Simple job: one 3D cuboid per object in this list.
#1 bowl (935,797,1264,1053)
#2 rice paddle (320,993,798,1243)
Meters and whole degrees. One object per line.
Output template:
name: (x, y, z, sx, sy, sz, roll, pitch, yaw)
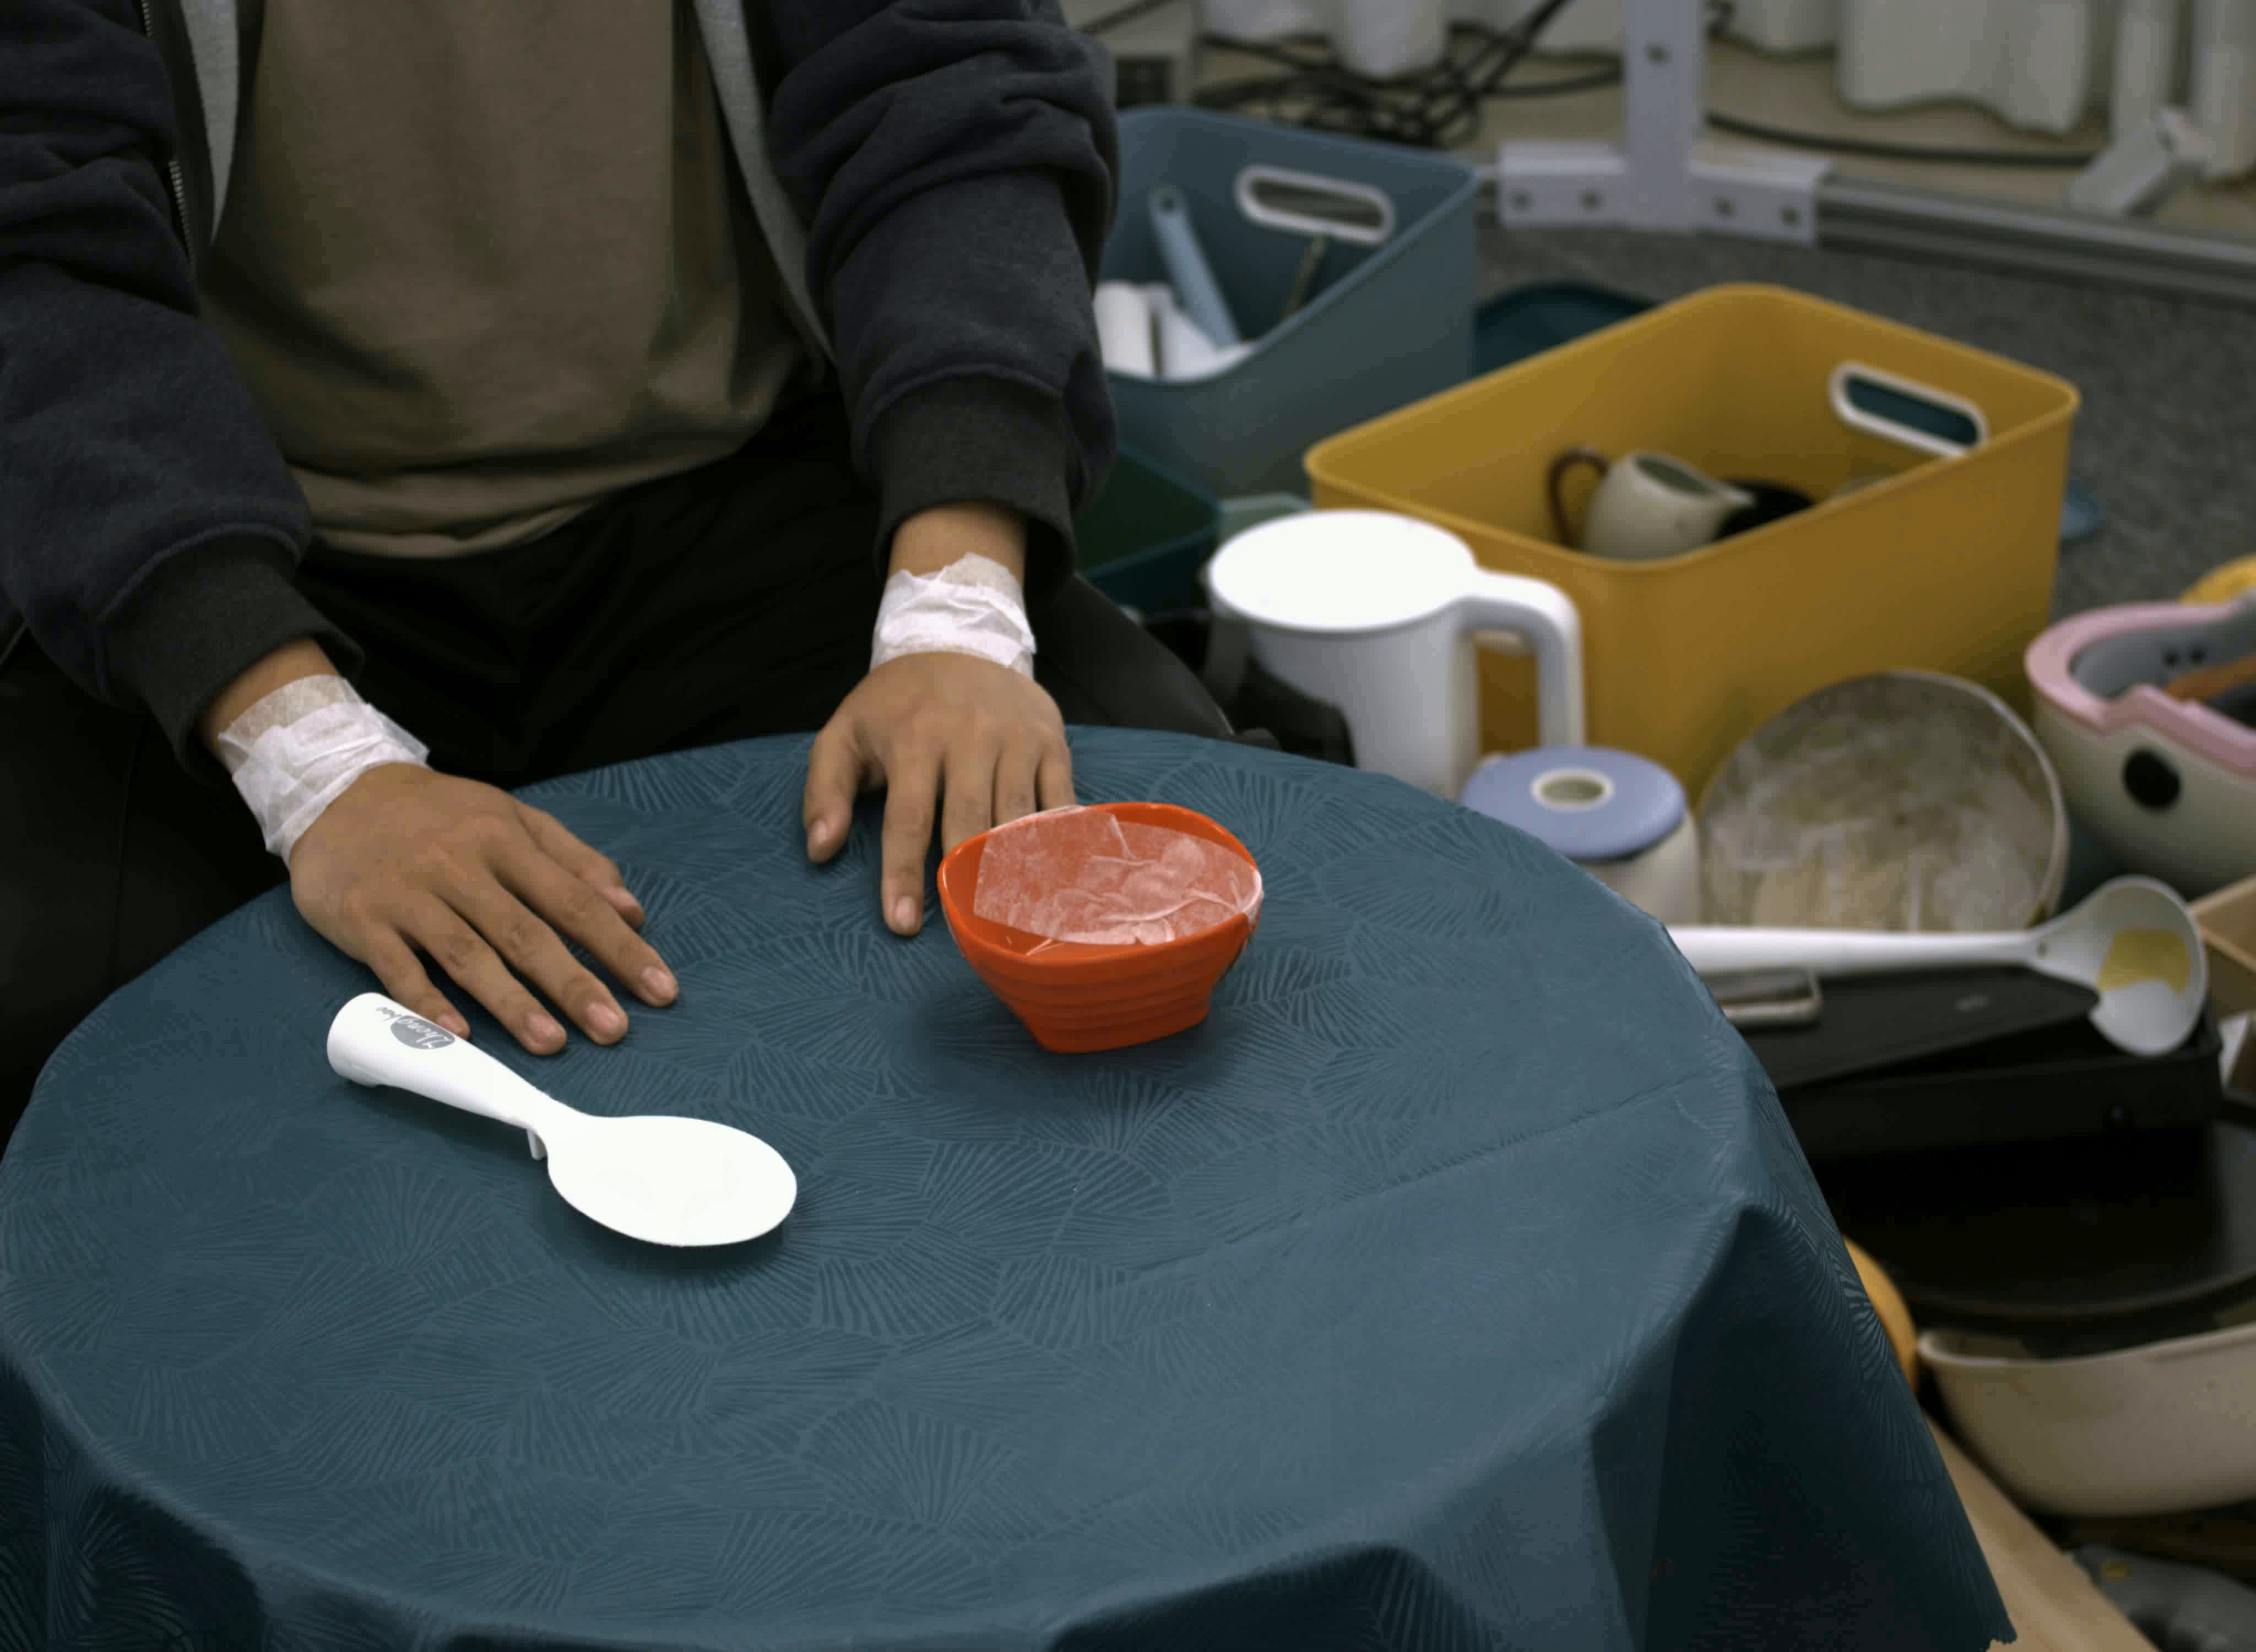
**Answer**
bowl: (-0.009, 0.039, 1.965, 0.118, 0.051, 0.121, -2, 28, 1)
rice paddle: (-0.193, 0.100, 1.891, 0.204, 0.029, 0.070, 20, 36, 37)
